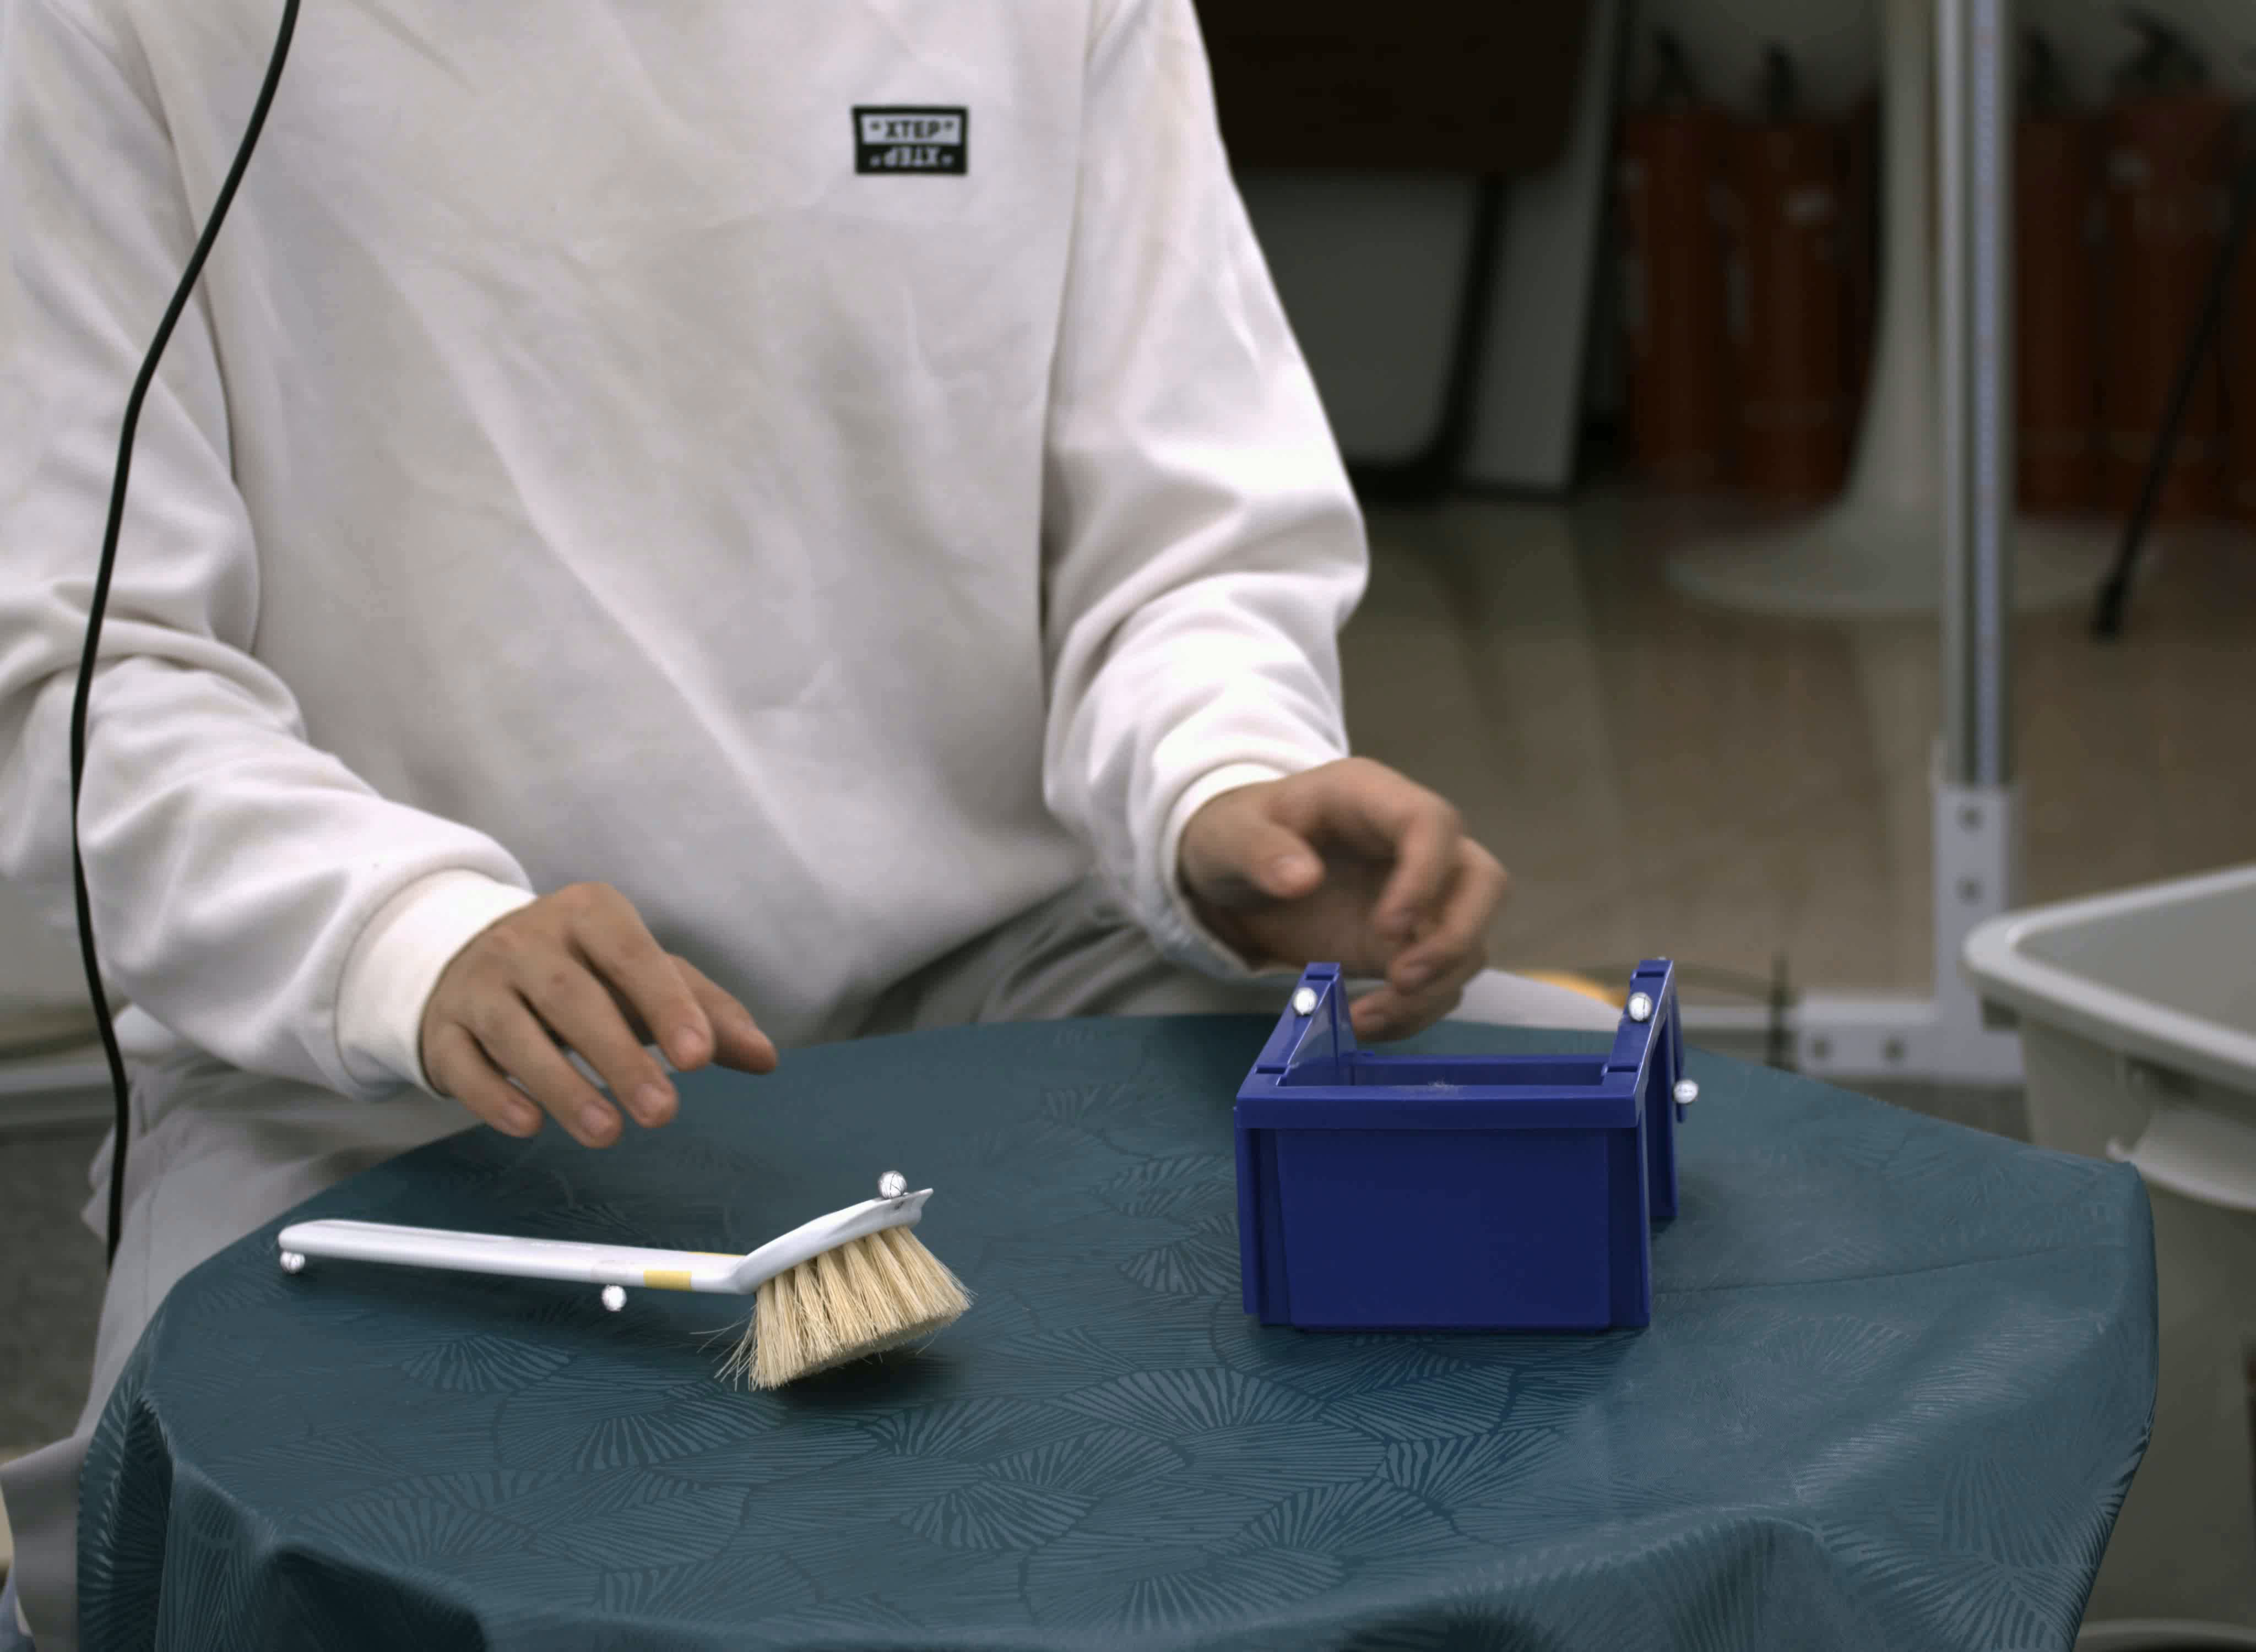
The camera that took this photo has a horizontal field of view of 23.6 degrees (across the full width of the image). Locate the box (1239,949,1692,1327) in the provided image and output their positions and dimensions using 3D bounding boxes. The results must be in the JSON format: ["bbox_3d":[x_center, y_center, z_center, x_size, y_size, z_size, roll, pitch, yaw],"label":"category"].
[{"bbox_3d":[0.108,0.094,1.686,0.124,0.083,0.178,-1,15,12],"label":"box"}]

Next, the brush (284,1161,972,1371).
[{"bbox_3d":[-0.159,0.148,1.674,0.268,0.057,0.067,-12,-9,36],"label":"brush"}]
